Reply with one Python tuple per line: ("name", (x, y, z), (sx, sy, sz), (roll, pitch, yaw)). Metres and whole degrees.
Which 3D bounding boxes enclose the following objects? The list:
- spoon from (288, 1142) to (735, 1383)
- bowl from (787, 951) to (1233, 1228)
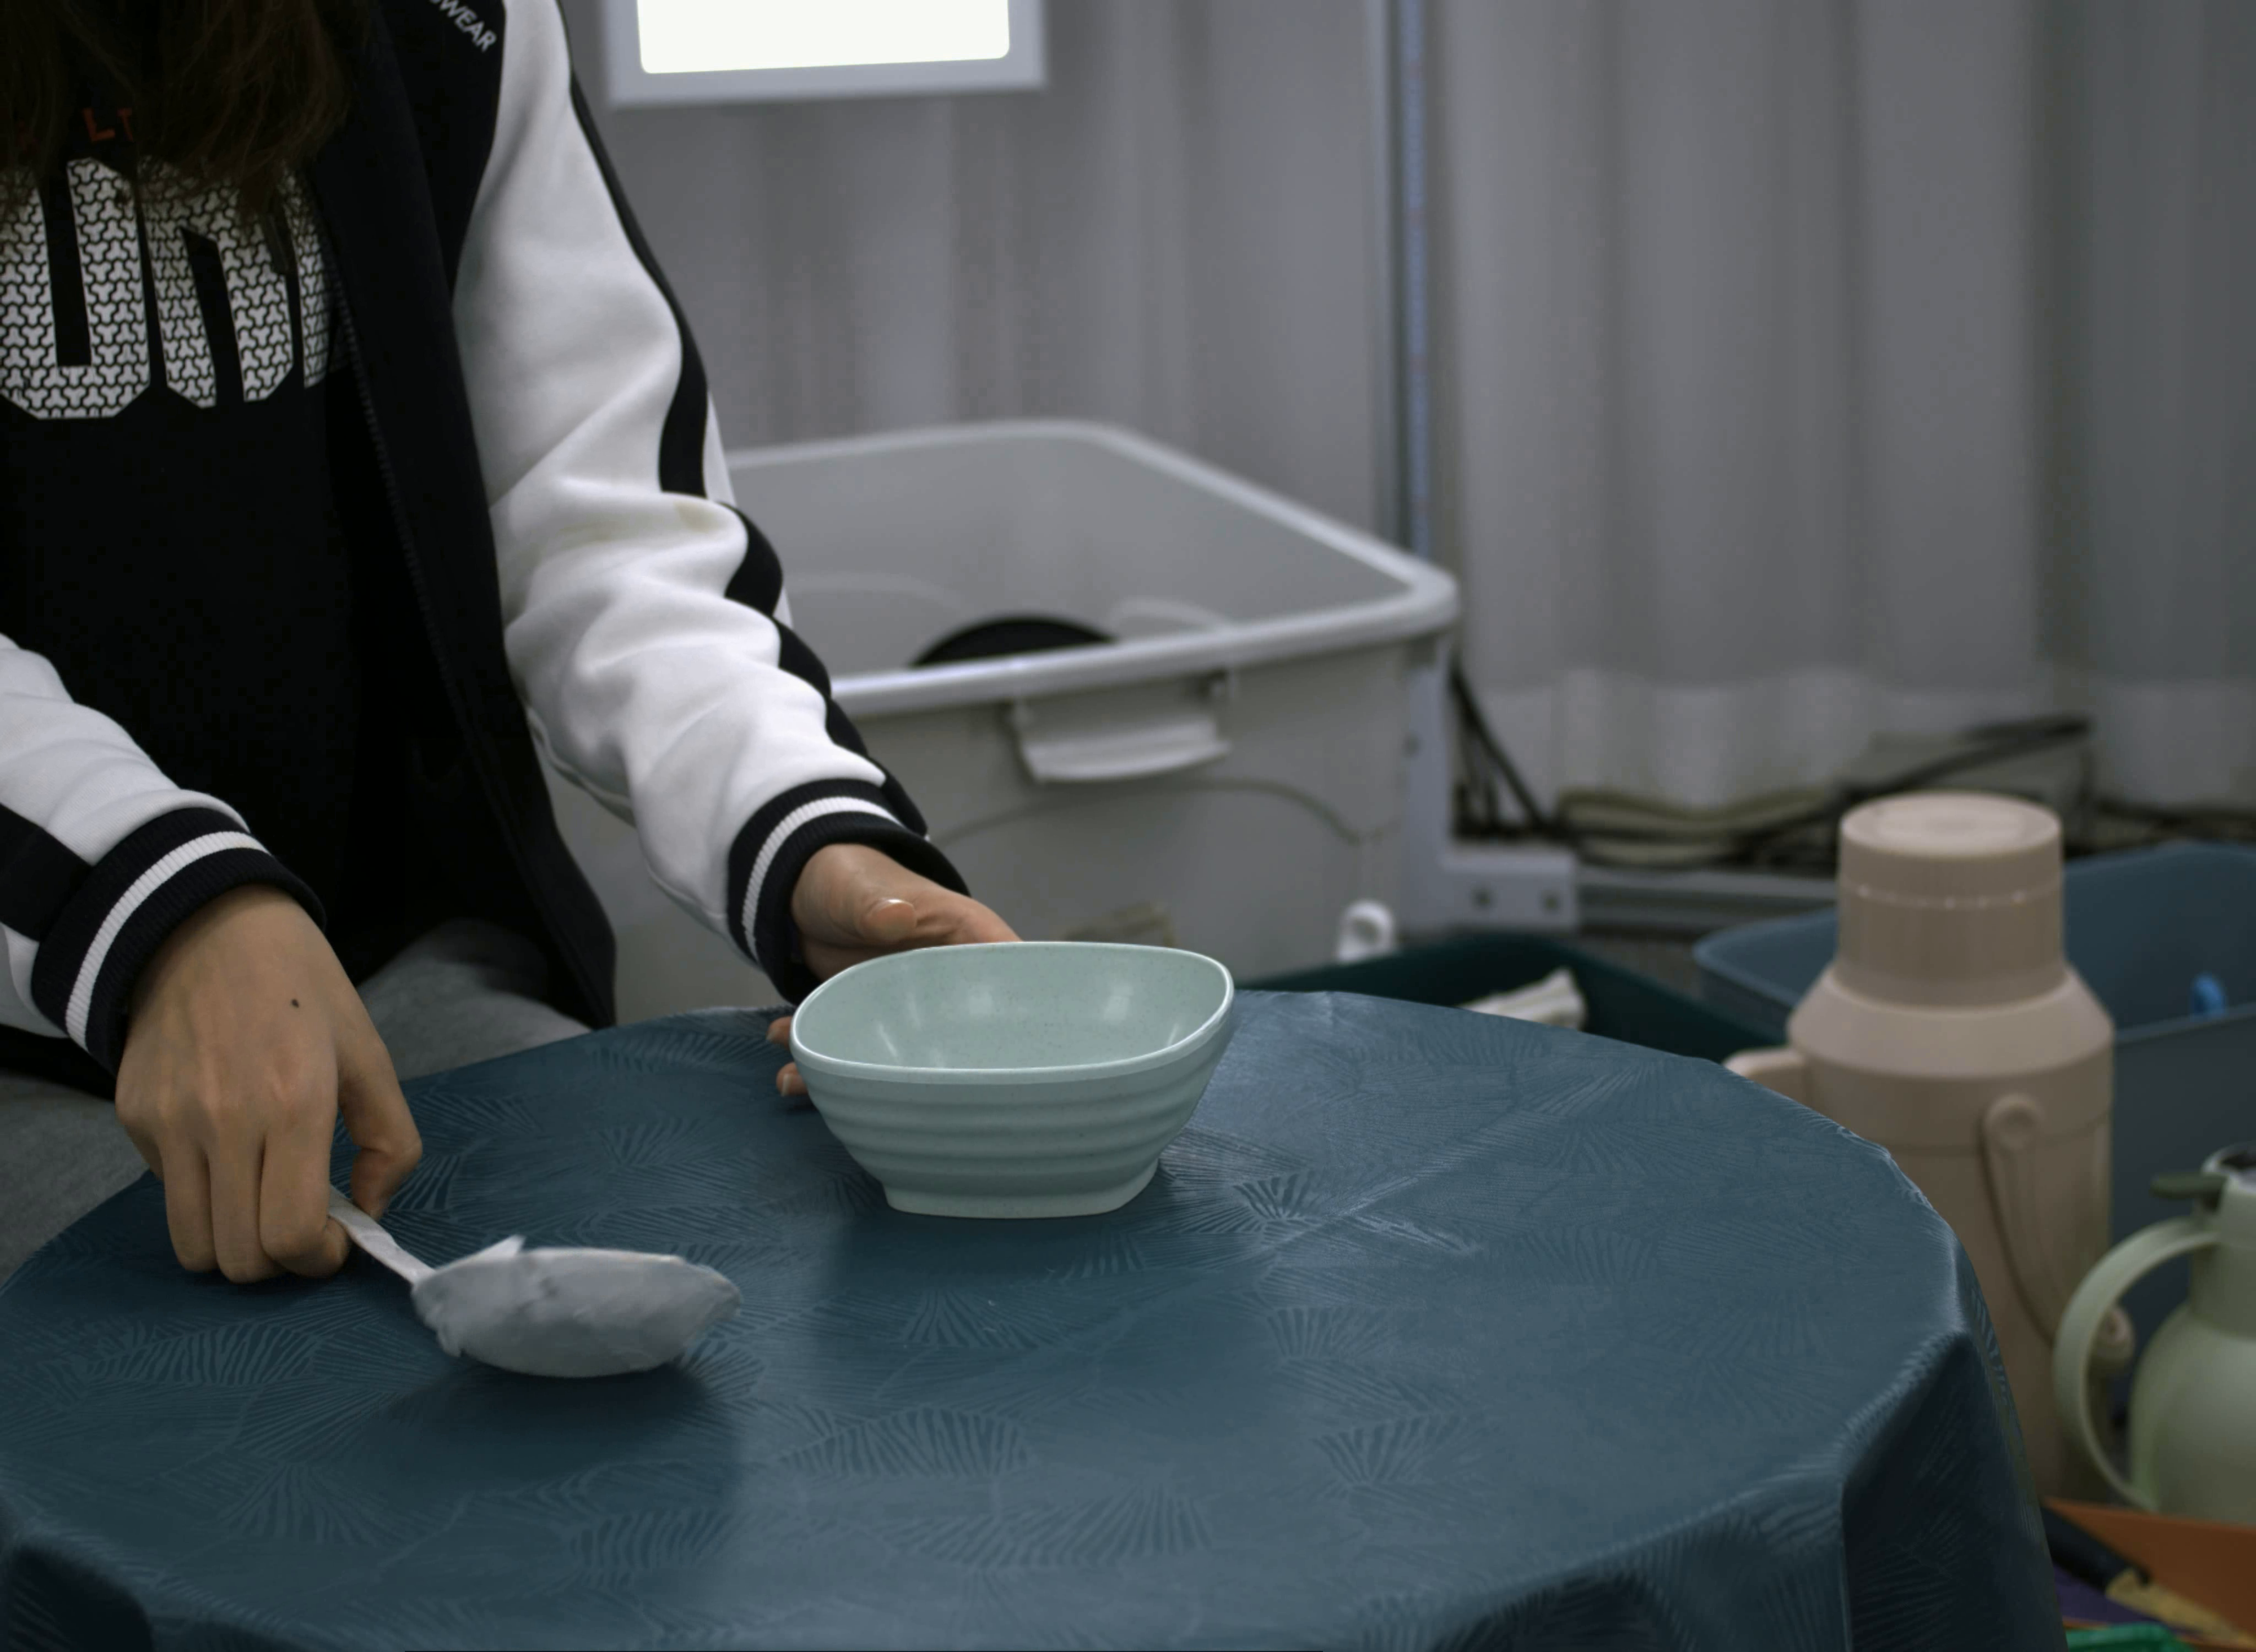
("spoon", (-0.197, 0.114, 1.644), (0.100, 0.059, 0.280), (15, 7, -27))
("bowl", (-0.035, 0.086, 1.728), (0.151, 0.058, 0.152), (-3, 14, 0))
